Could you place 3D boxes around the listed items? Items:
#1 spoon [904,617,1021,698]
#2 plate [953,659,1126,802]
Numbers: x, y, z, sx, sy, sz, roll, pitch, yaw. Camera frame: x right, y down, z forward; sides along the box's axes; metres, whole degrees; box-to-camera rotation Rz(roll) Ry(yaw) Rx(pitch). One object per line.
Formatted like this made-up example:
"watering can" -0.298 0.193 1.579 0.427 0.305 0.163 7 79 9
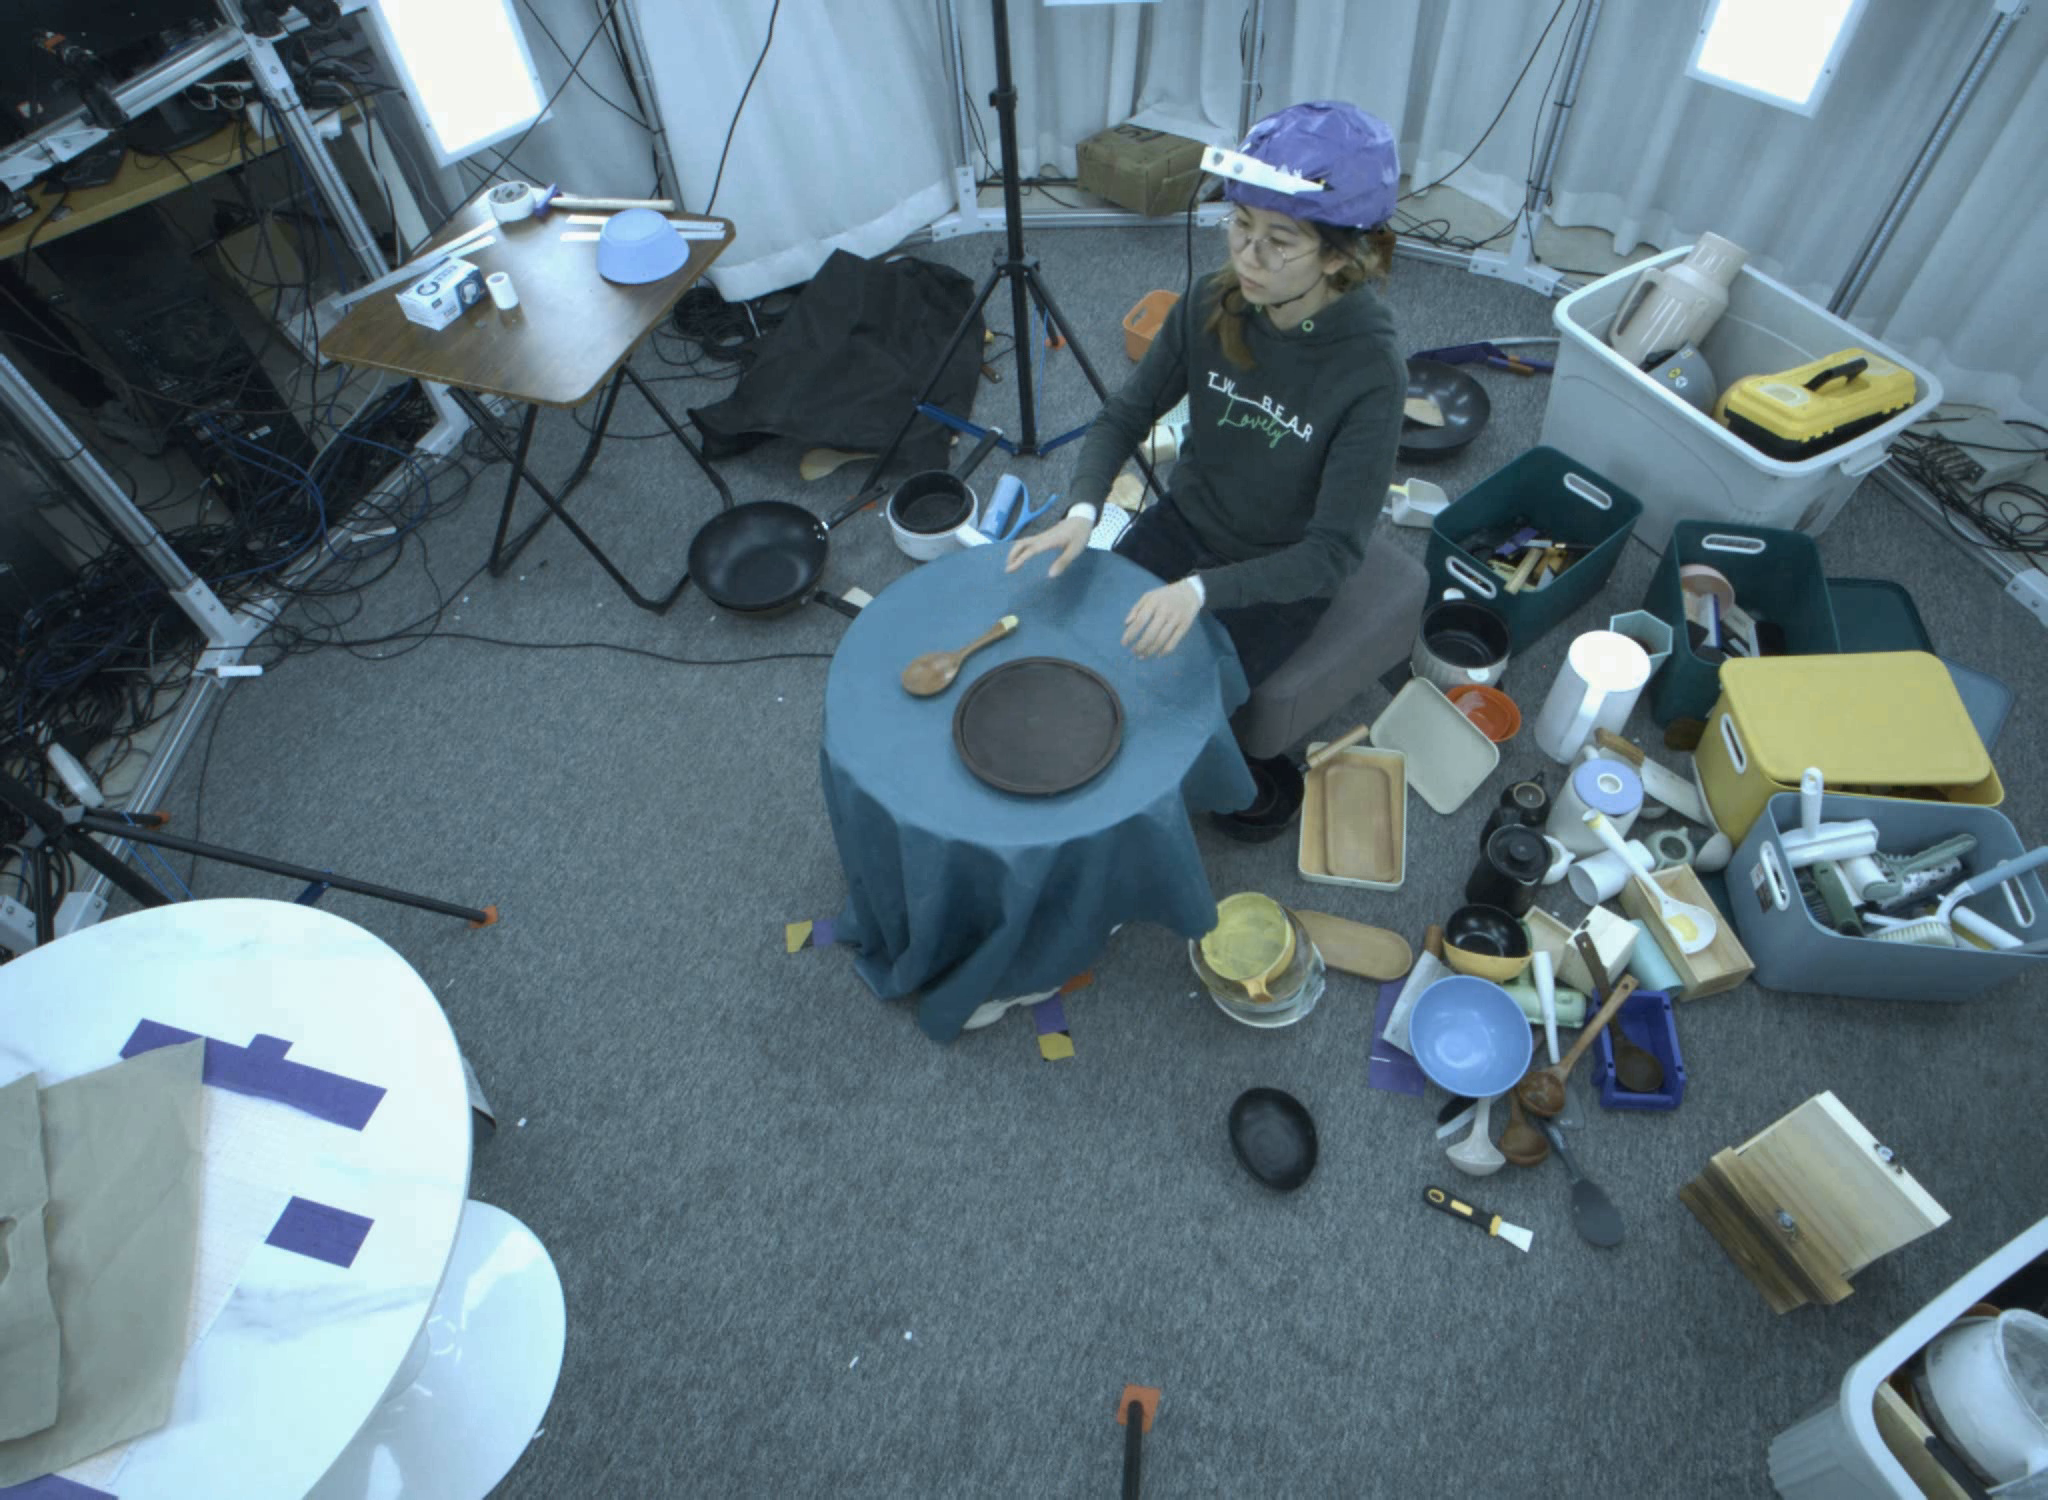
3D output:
"spoon" -0.092 -0.144 1.891 0.217 0.017 0.074 -36 61 -21
"plate" 0.023 -0.031 1.806 0.254 0.029 0.252 -1 56 2
